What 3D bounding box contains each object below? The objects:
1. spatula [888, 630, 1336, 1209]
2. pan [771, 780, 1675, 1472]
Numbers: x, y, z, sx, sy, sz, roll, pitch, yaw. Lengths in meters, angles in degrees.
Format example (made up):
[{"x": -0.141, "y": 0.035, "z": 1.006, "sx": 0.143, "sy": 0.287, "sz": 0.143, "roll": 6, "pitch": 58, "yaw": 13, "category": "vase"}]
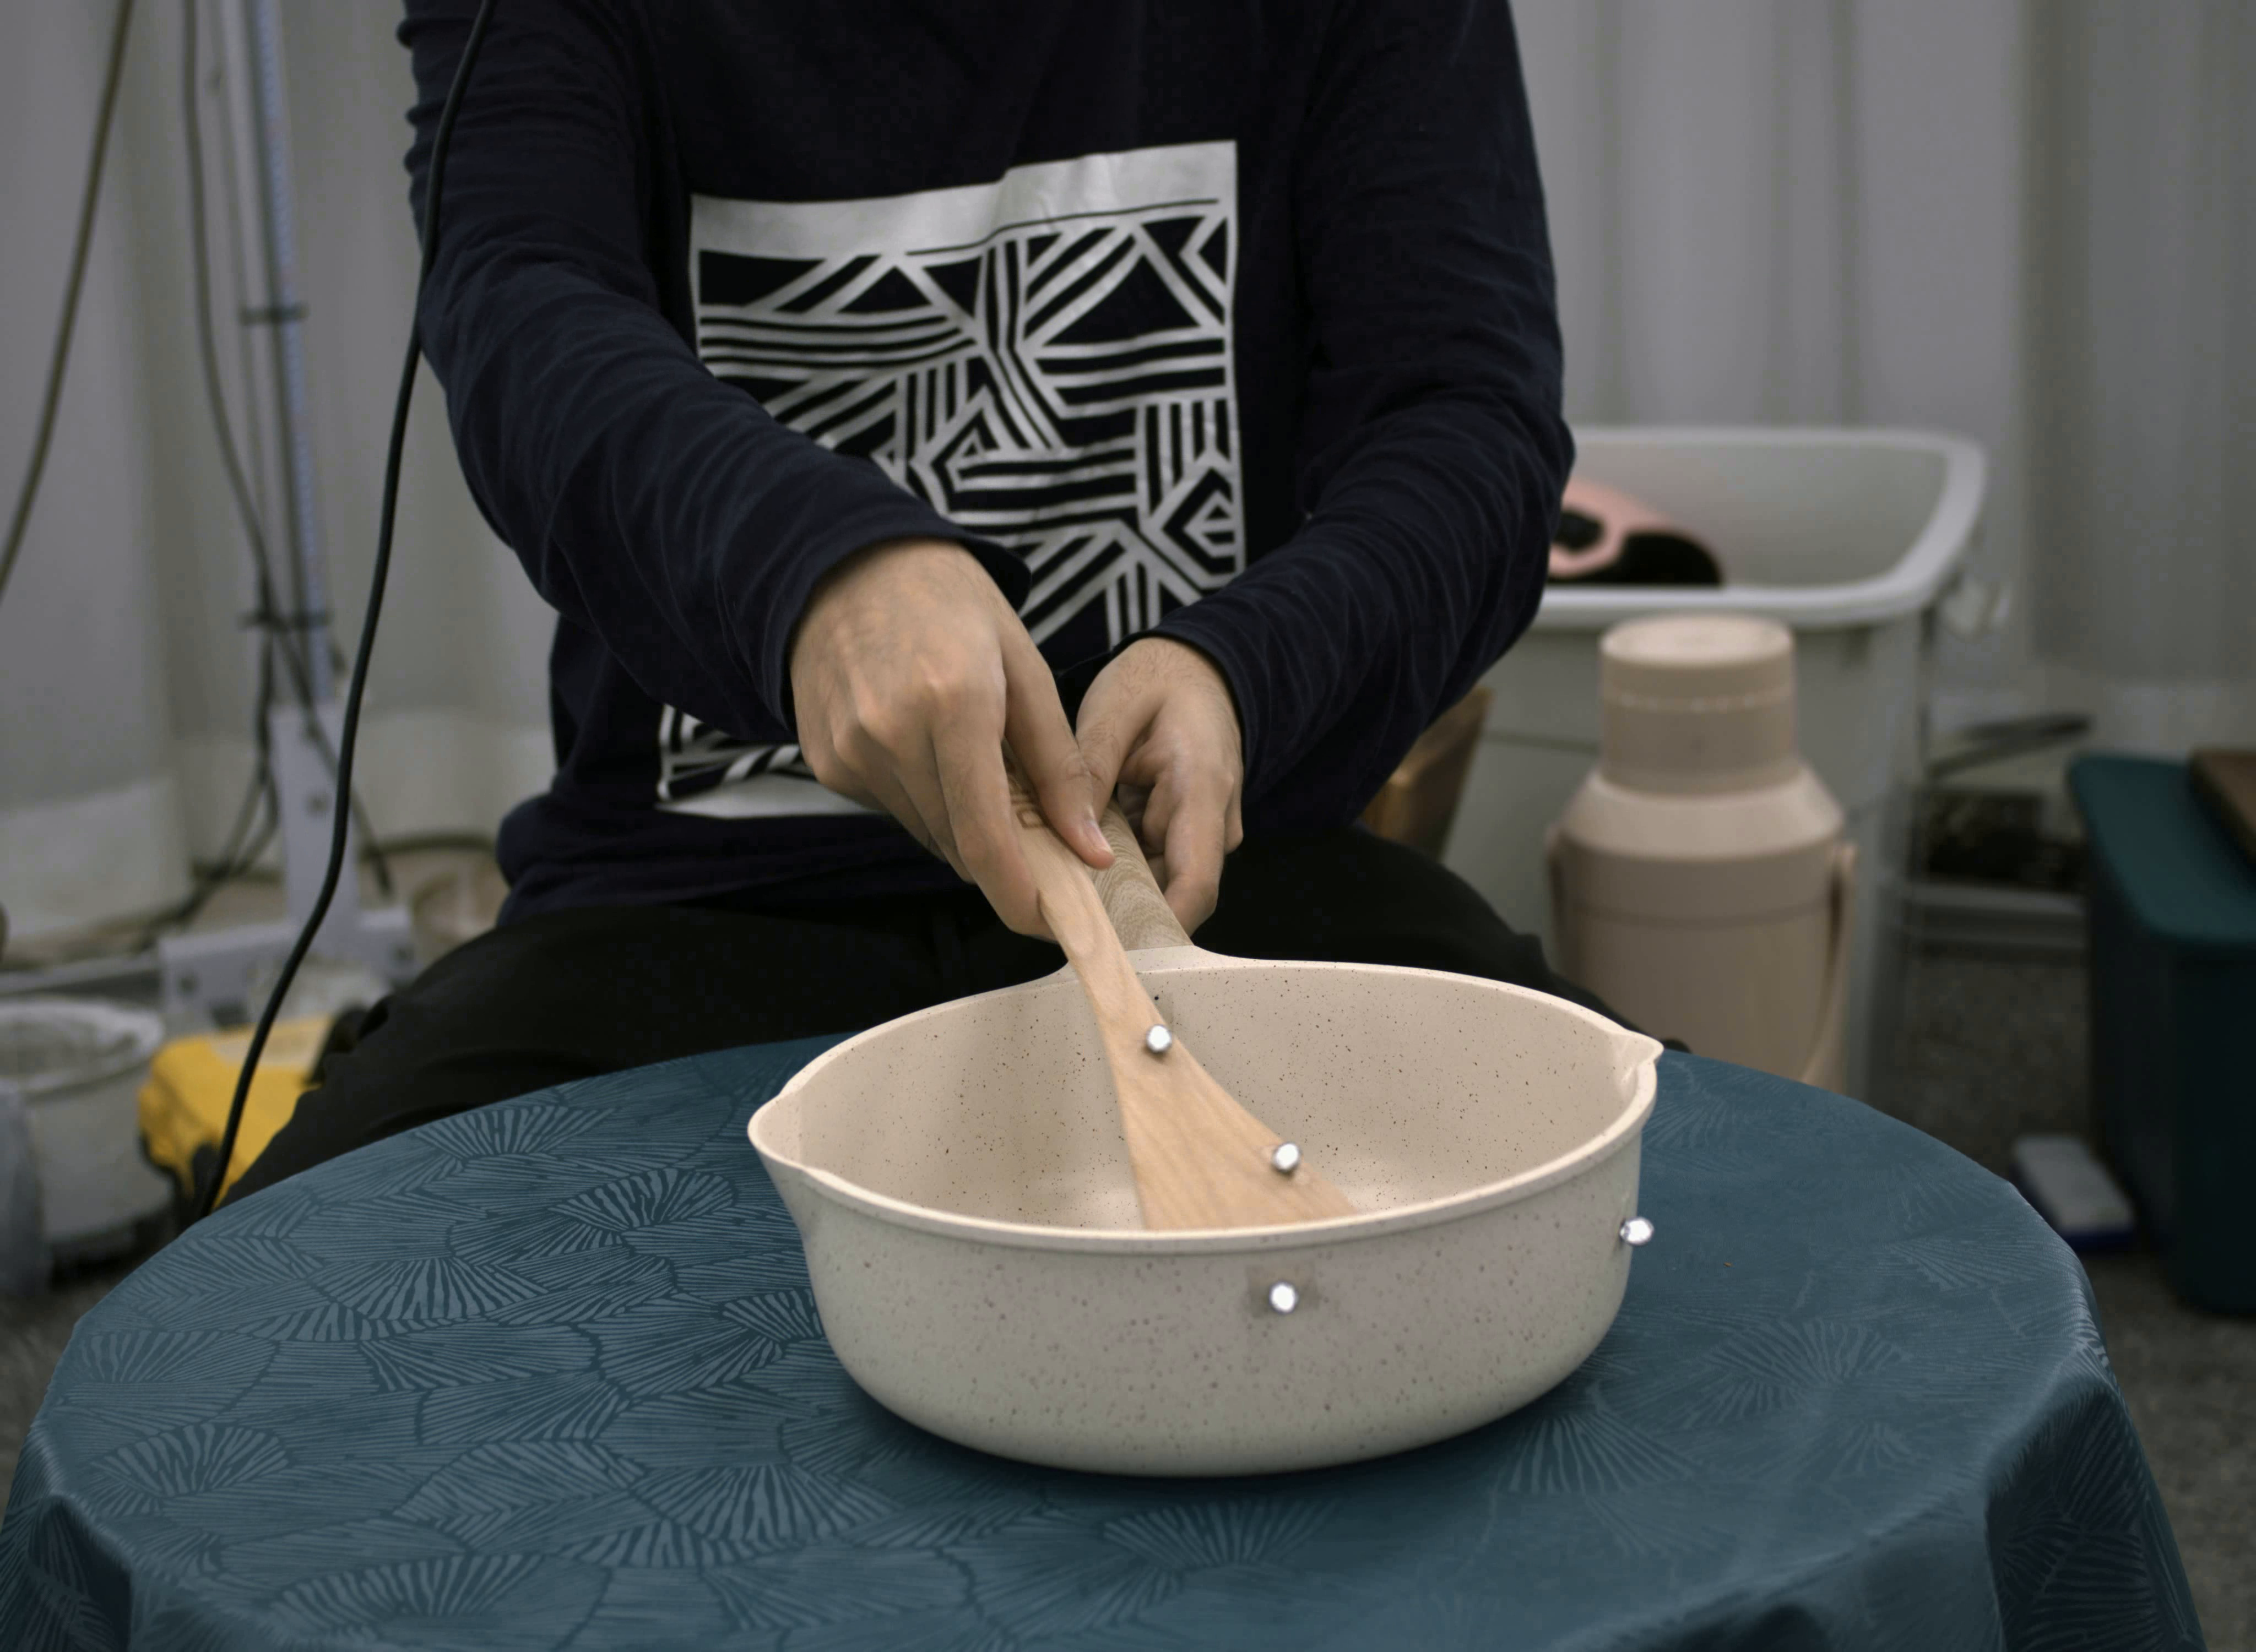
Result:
[{"x": -0.001, "y": 0.050, "z": 1.613, "sx": 0.079, "sy": 0.016, "sz": 0.332, "roll": -5, "pitch": 46, "yaw": -28, "category": "spatula"}, {"x": 0.015, "y": 0.084, "z": 1.647, "sx": 0.262, "sy": 0.101, "sz": 0.438, "roll": -6, "pitch": 14, "yaw": -9, "category": "pan"}]
